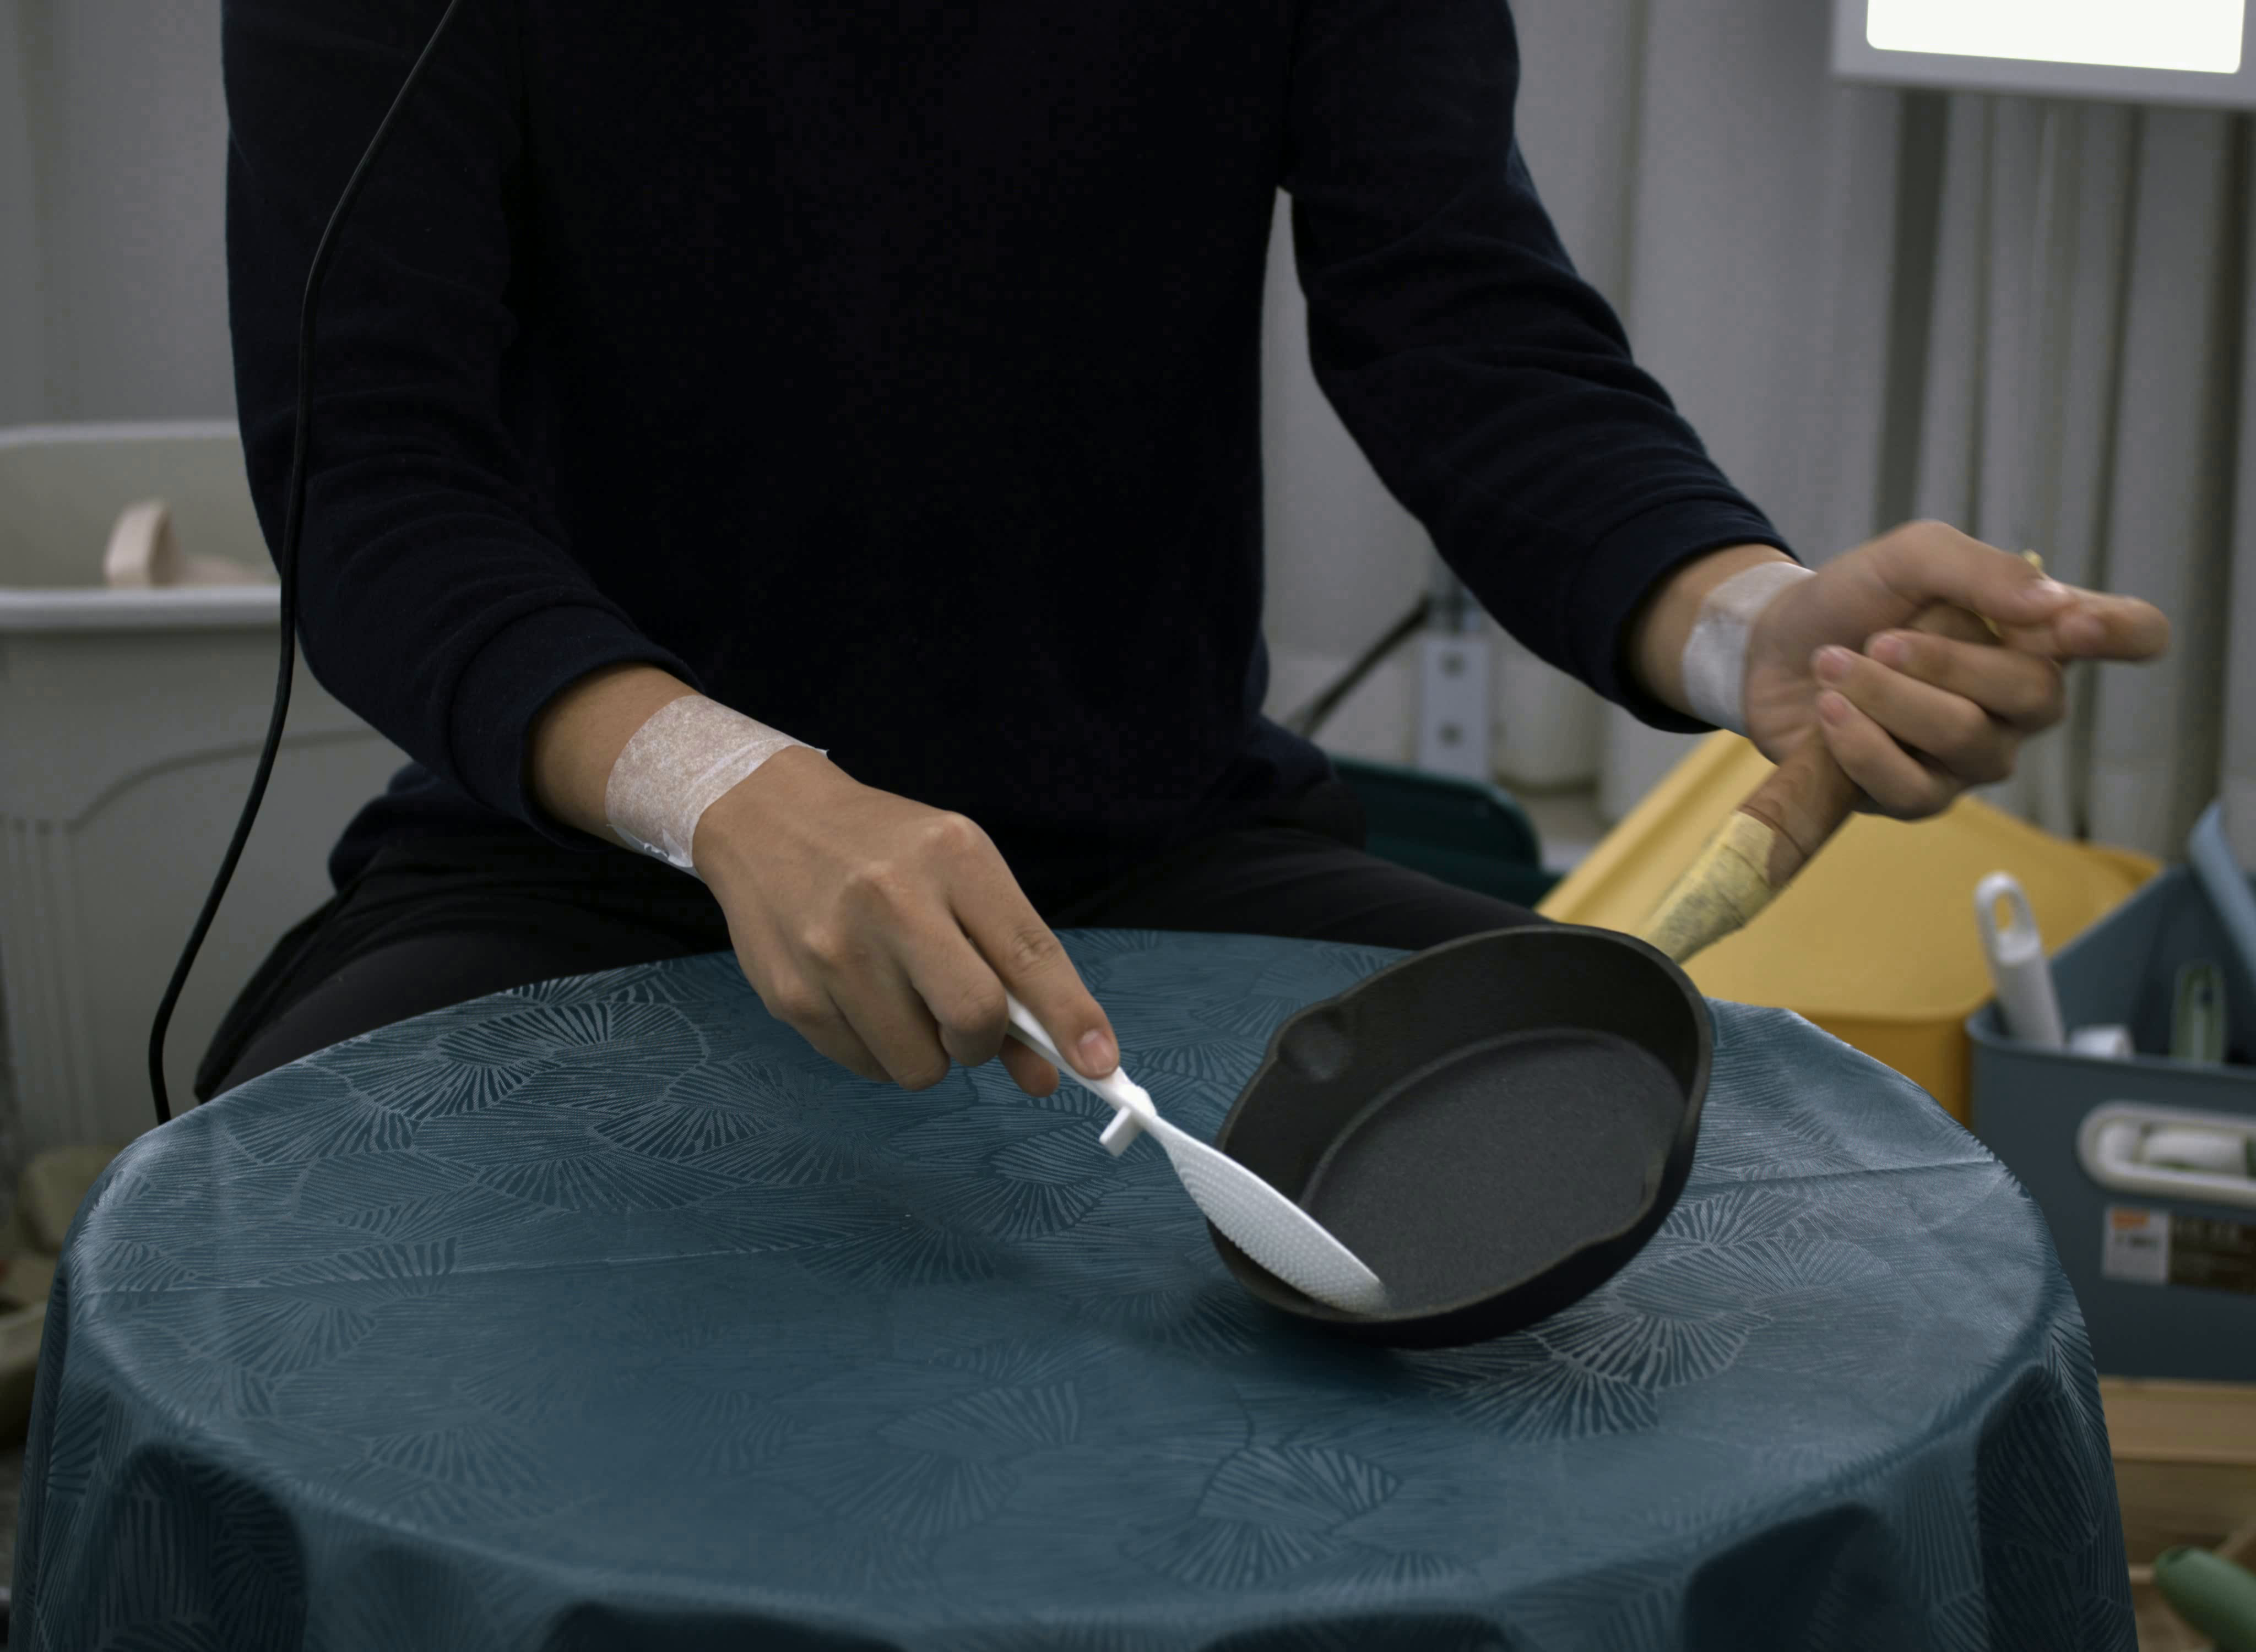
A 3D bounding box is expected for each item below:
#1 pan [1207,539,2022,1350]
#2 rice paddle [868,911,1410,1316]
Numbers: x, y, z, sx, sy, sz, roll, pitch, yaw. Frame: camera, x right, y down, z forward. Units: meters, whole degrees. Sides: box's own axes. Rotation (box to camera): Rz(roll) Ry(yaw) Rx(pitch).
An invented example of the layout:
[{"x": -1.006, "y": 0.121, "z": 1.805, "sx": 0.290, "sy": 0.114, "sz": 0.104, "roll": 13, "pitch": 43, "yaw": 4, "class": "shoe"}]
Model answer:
[{"x": 0.157, "y": 0.033, "z": 1.536, "sx": 0.324, "sy": 0.050, "sz": 0.166, "roll": -42, "pitch": 36, "yaw": -14, "class": "pan"}, {"x": 0.007, "y": 0.086, "z": 1.520, "sx": 0.202, "sy": 0.029, "sz": 0.069, "roll": 33, "pitch": -10, "yaw": 29, "class": "rice paddle"}]
